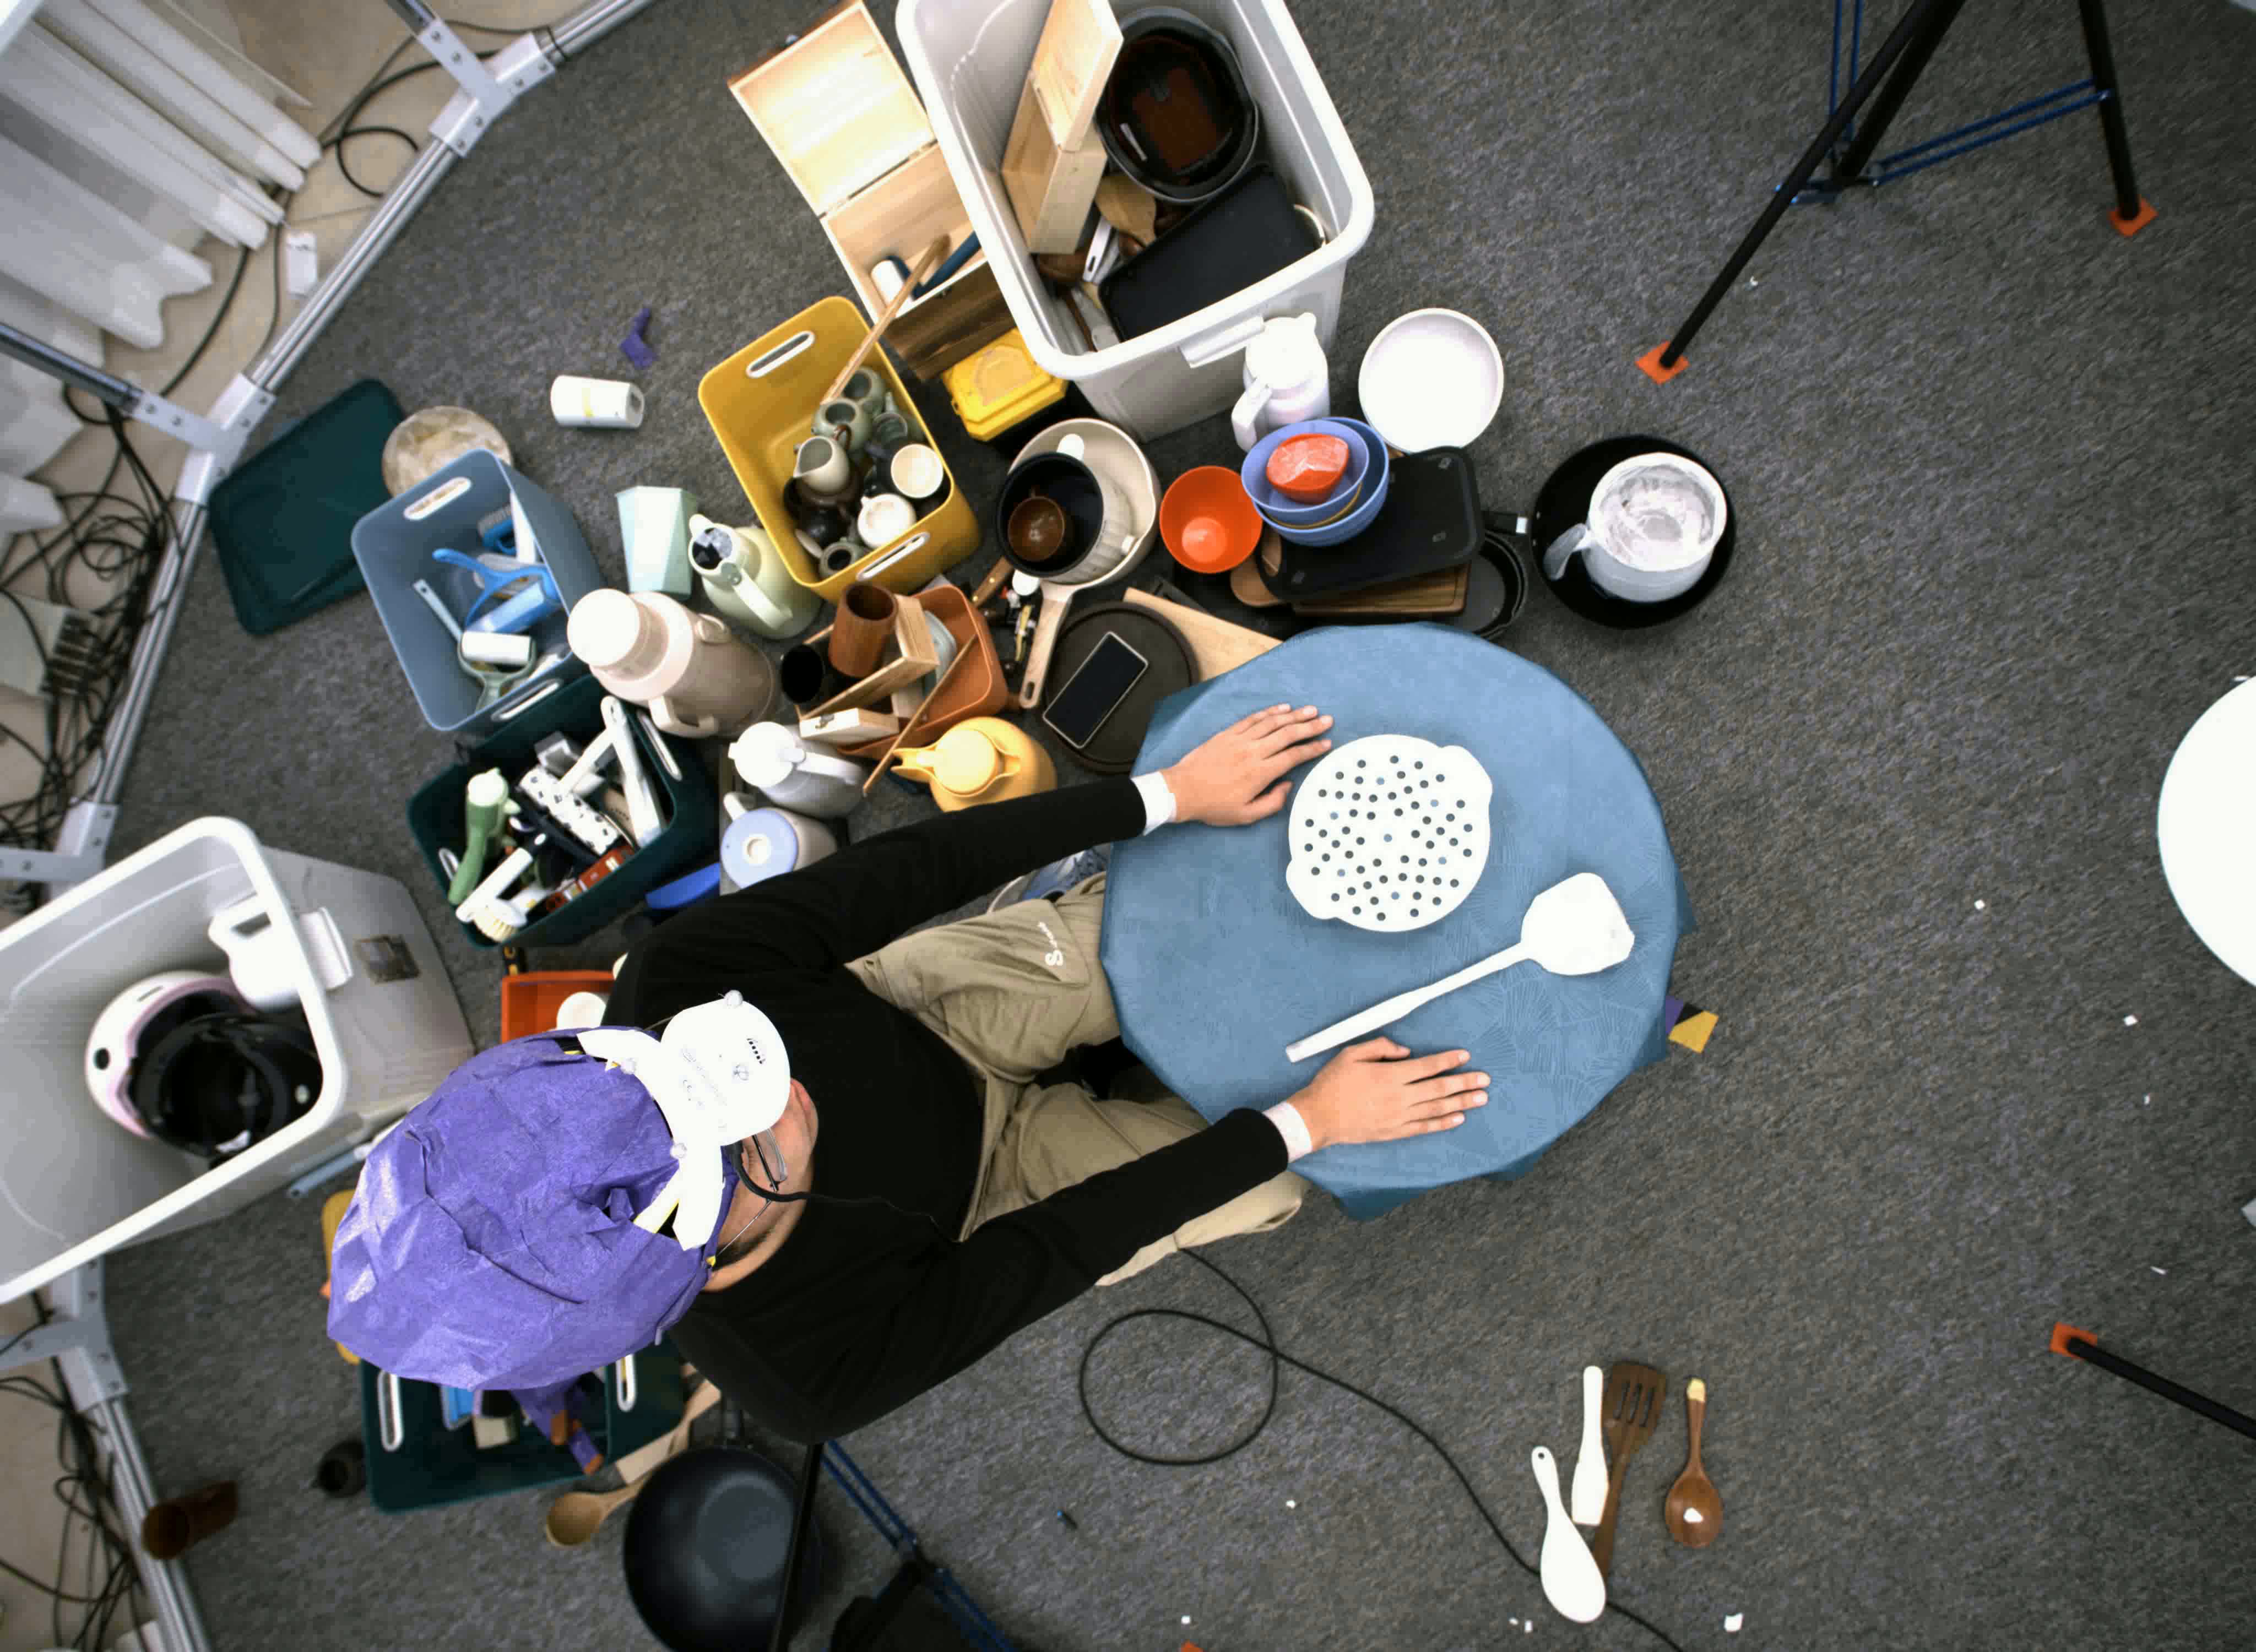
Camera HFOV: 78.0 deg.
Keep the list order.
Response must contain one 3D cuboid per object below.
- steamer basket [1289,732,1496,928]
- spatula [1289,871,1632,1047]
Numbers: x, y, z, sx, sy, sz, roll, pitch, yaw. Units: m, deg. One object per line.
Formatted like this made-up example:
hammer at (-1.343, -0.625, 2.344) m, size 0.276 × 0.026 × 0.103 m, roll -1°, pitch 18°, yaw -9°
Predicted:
steamer basket at (0.273, 0.005, 1.428) m, size 0.232 × 0.069 × 0.200 m, roll -37°, pitch 80°, yaw 7°
spatula at (0.336, 0.155, 1.424) m, size 0.367 × 0.045 × 0.098 m, roll -25°, pitch 84°, yaw 8°
